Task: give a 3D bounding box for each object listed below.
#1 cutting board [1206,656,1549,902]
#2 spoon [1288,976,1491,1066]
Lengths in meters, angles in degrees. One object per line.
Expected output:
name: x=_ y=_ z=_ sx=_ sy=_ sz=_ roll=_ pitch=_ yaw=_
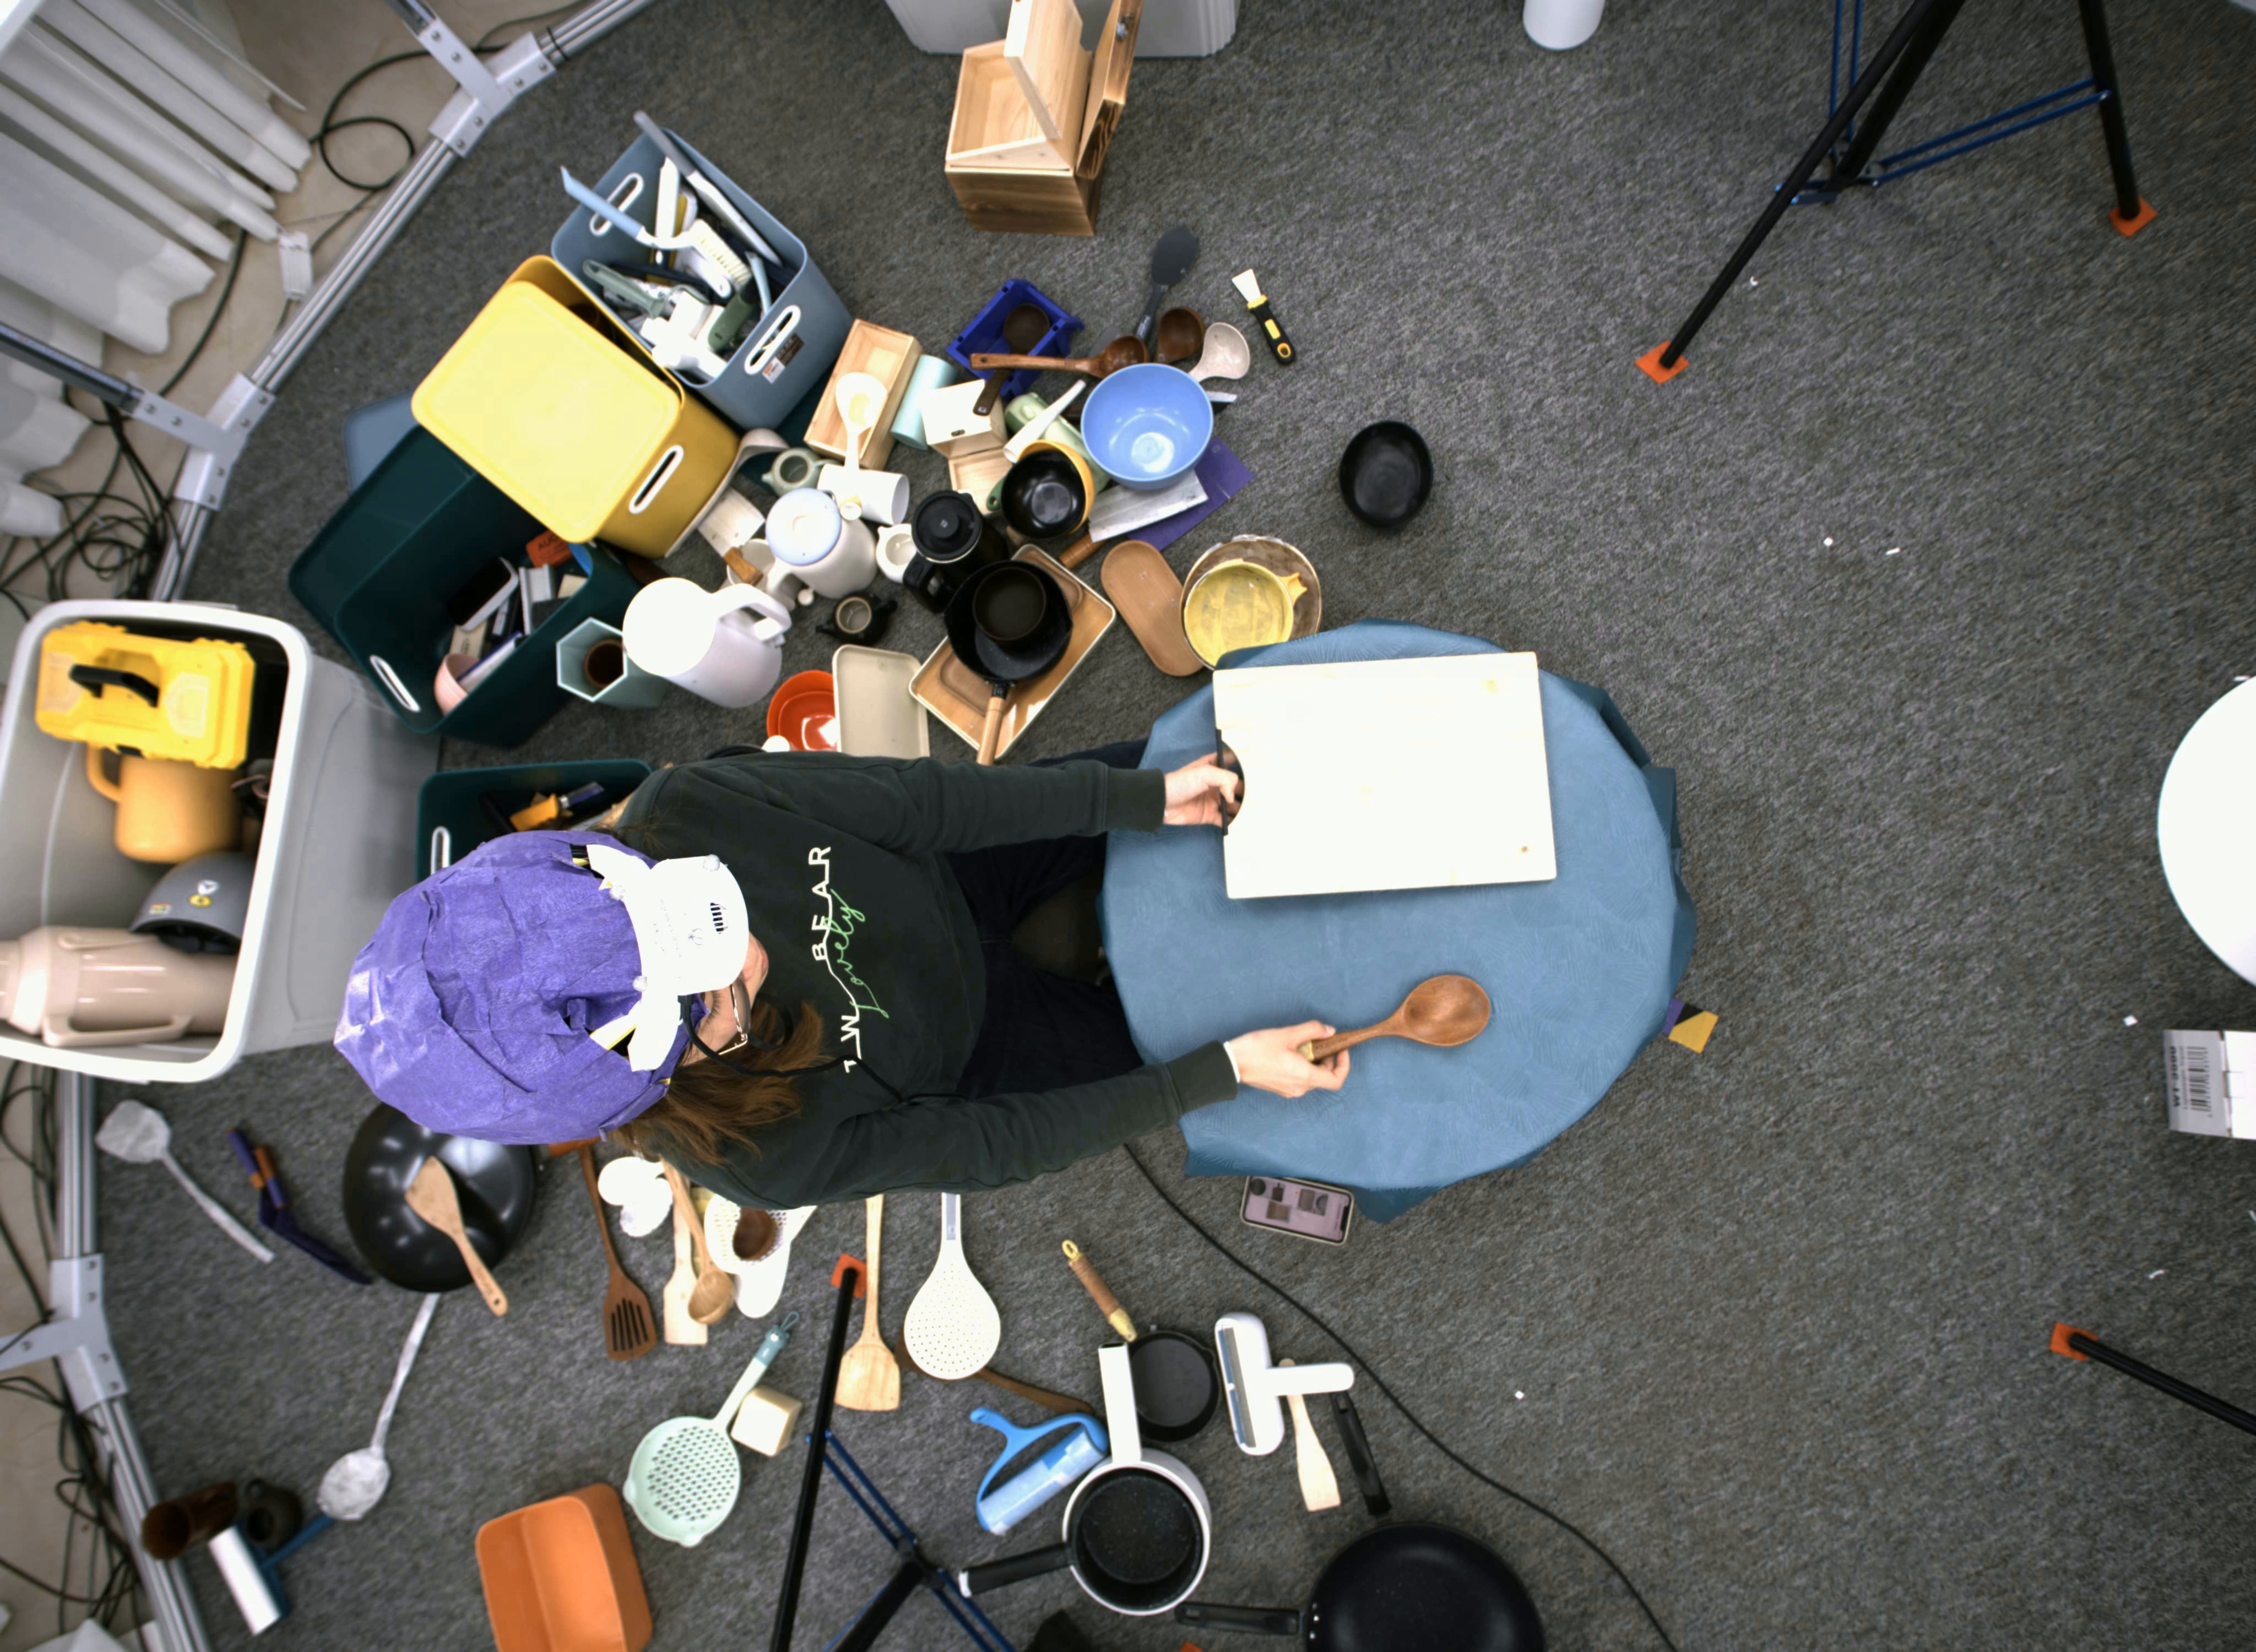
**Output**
cutting board: x=0.262 y=-0.052 z=1.441 sx=0.349 sy=0.023 sz=0.249 roll=-5 pitch=85 yaw=2
spoon: x=0.270 y=0.209 z=1.433 sx=0.216 sy=0.017 sz=0.074 roll=-15 pitch=78 yaw=-1
